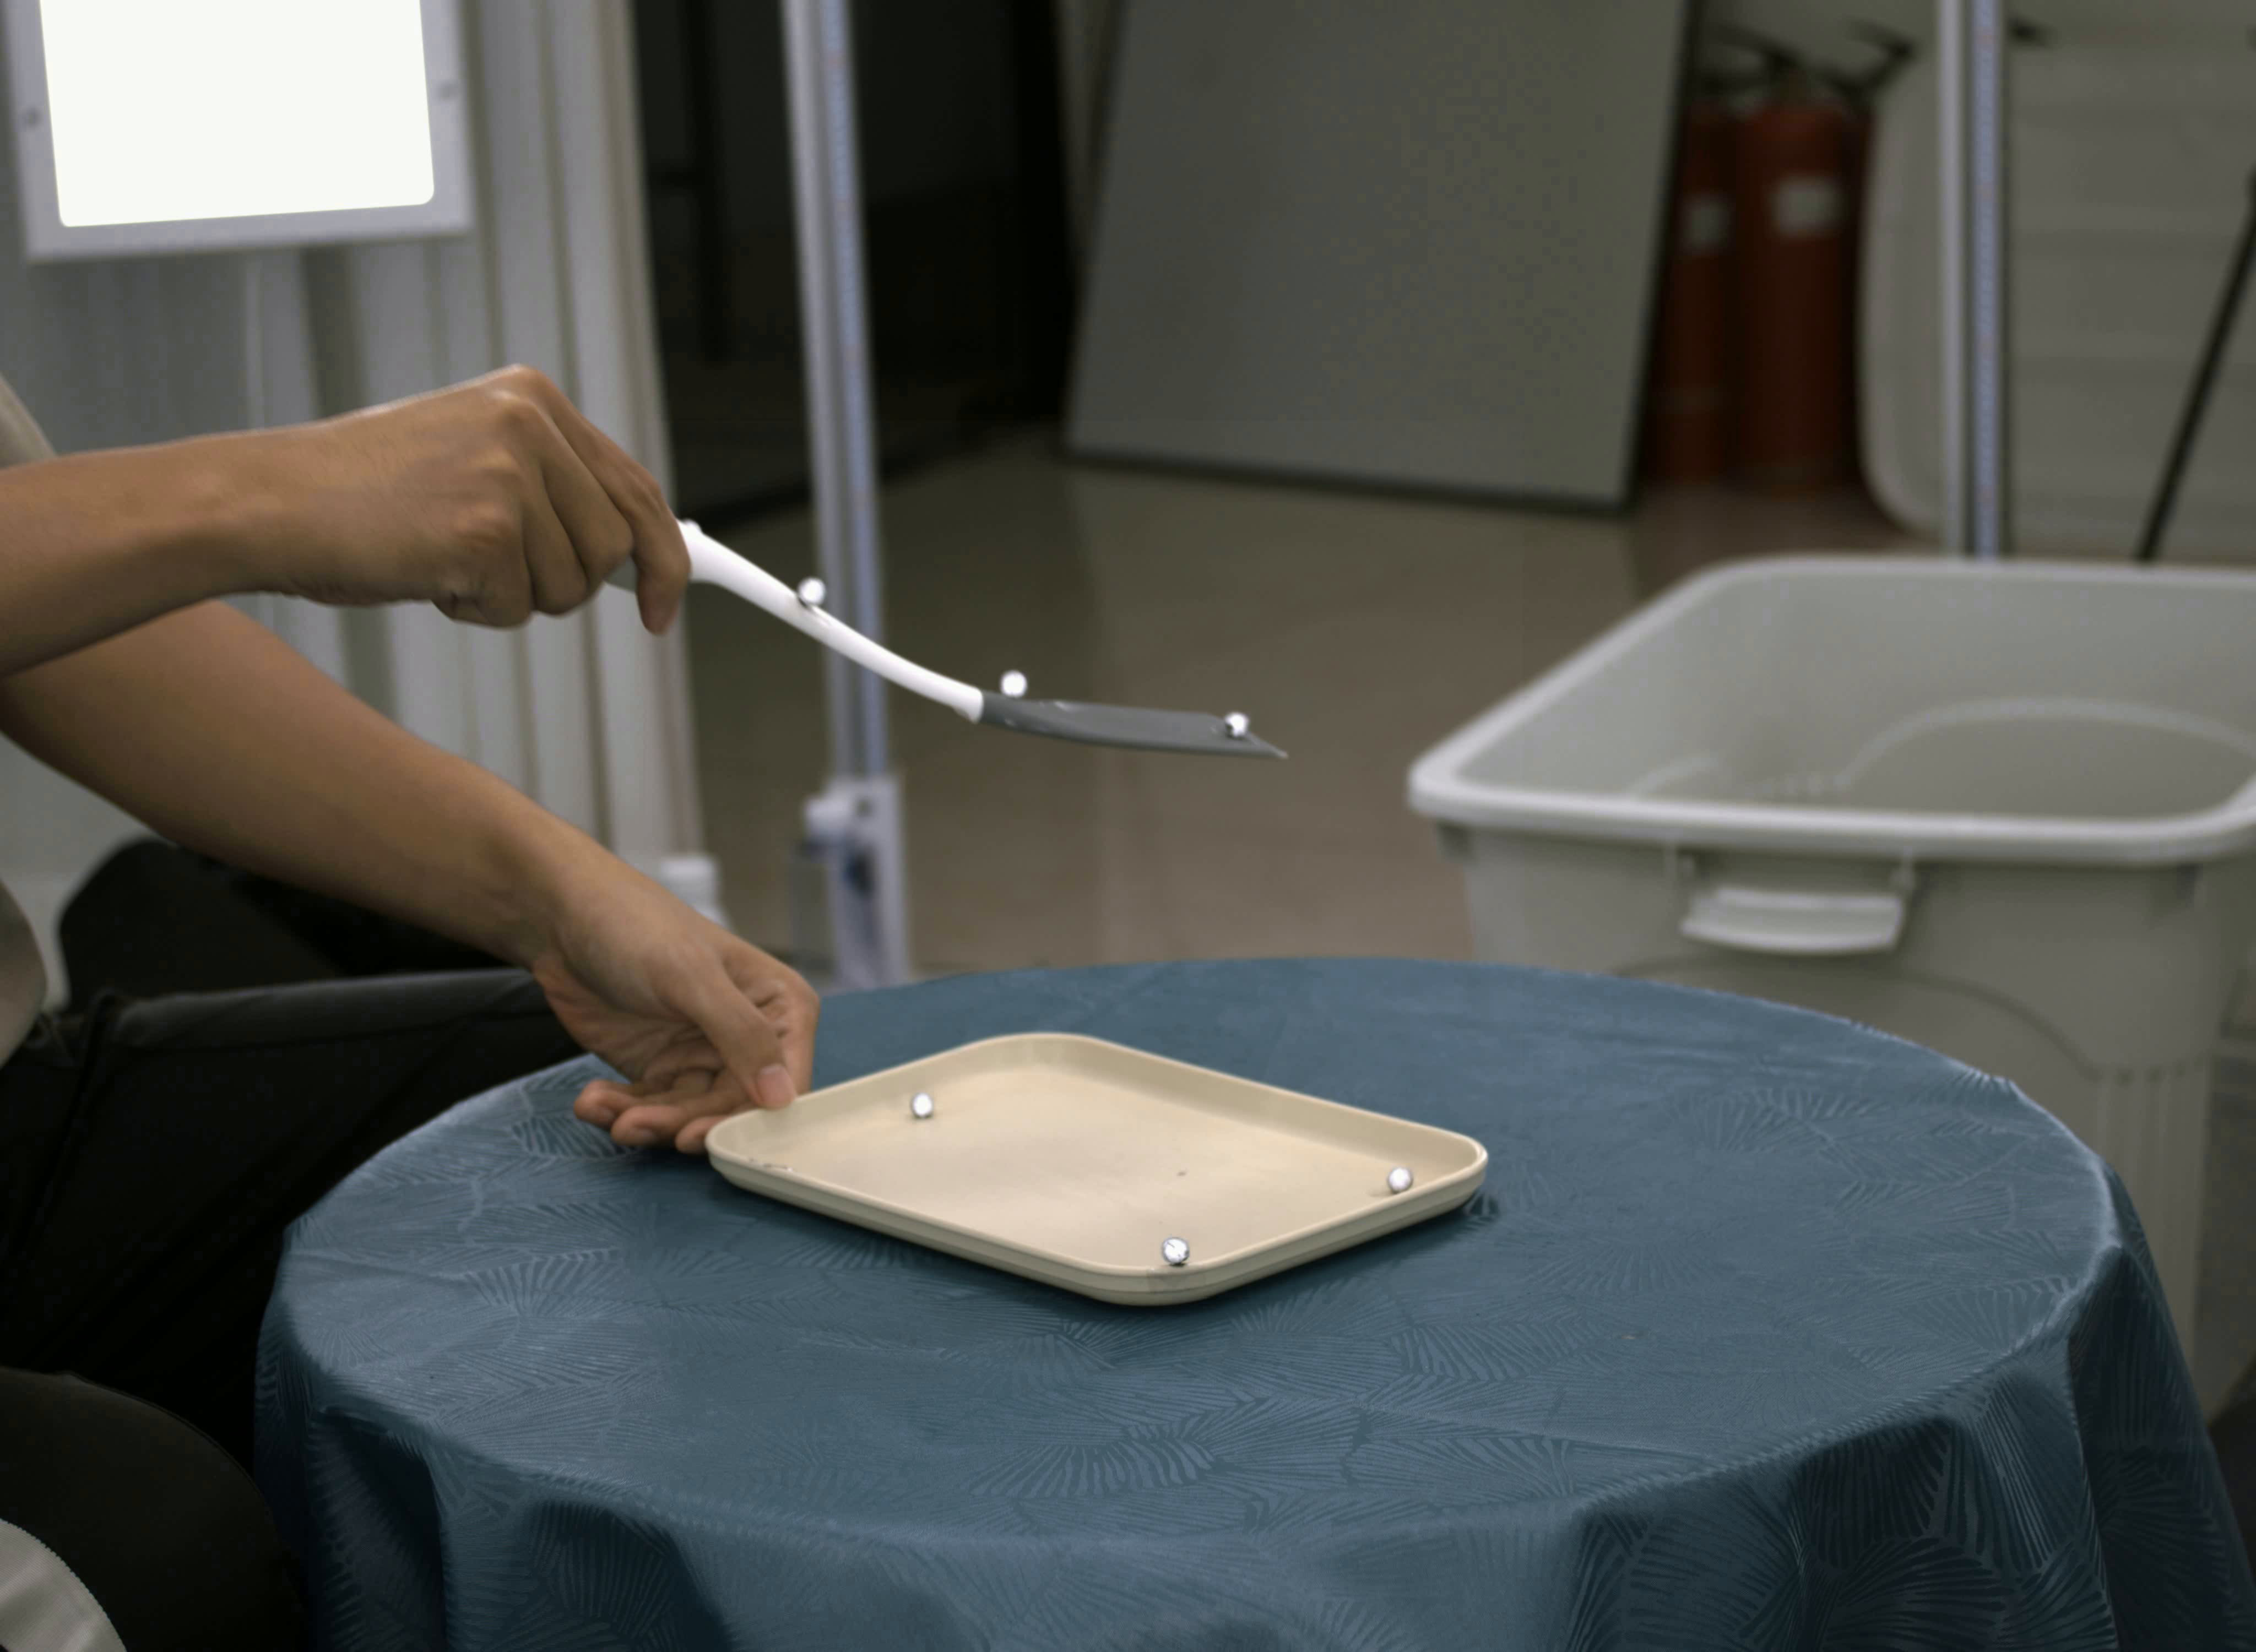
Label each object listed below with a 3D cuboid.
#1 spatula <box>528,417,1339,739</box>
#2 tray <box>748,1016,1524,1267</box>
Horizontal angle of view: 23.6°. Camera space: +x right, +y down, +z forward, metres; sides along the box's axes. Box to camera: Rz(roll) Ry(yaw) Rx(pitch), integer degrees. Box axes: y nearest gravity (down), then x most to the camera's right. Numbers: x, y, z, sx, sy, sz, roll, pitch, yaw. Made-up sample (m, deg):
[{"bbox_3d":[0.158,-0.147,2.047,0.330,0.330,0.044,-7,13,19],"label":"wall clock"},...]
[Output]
[{"bbox_3d":[-0.059,-0.069,1.726,0.281,0.032,0.059,20,1,-28],"label":"spatula"},{"bbox_3d":[0.001,0.103,1.784,0.167,0.018,0.242,-14,17,-40],"label":"tray"}]
